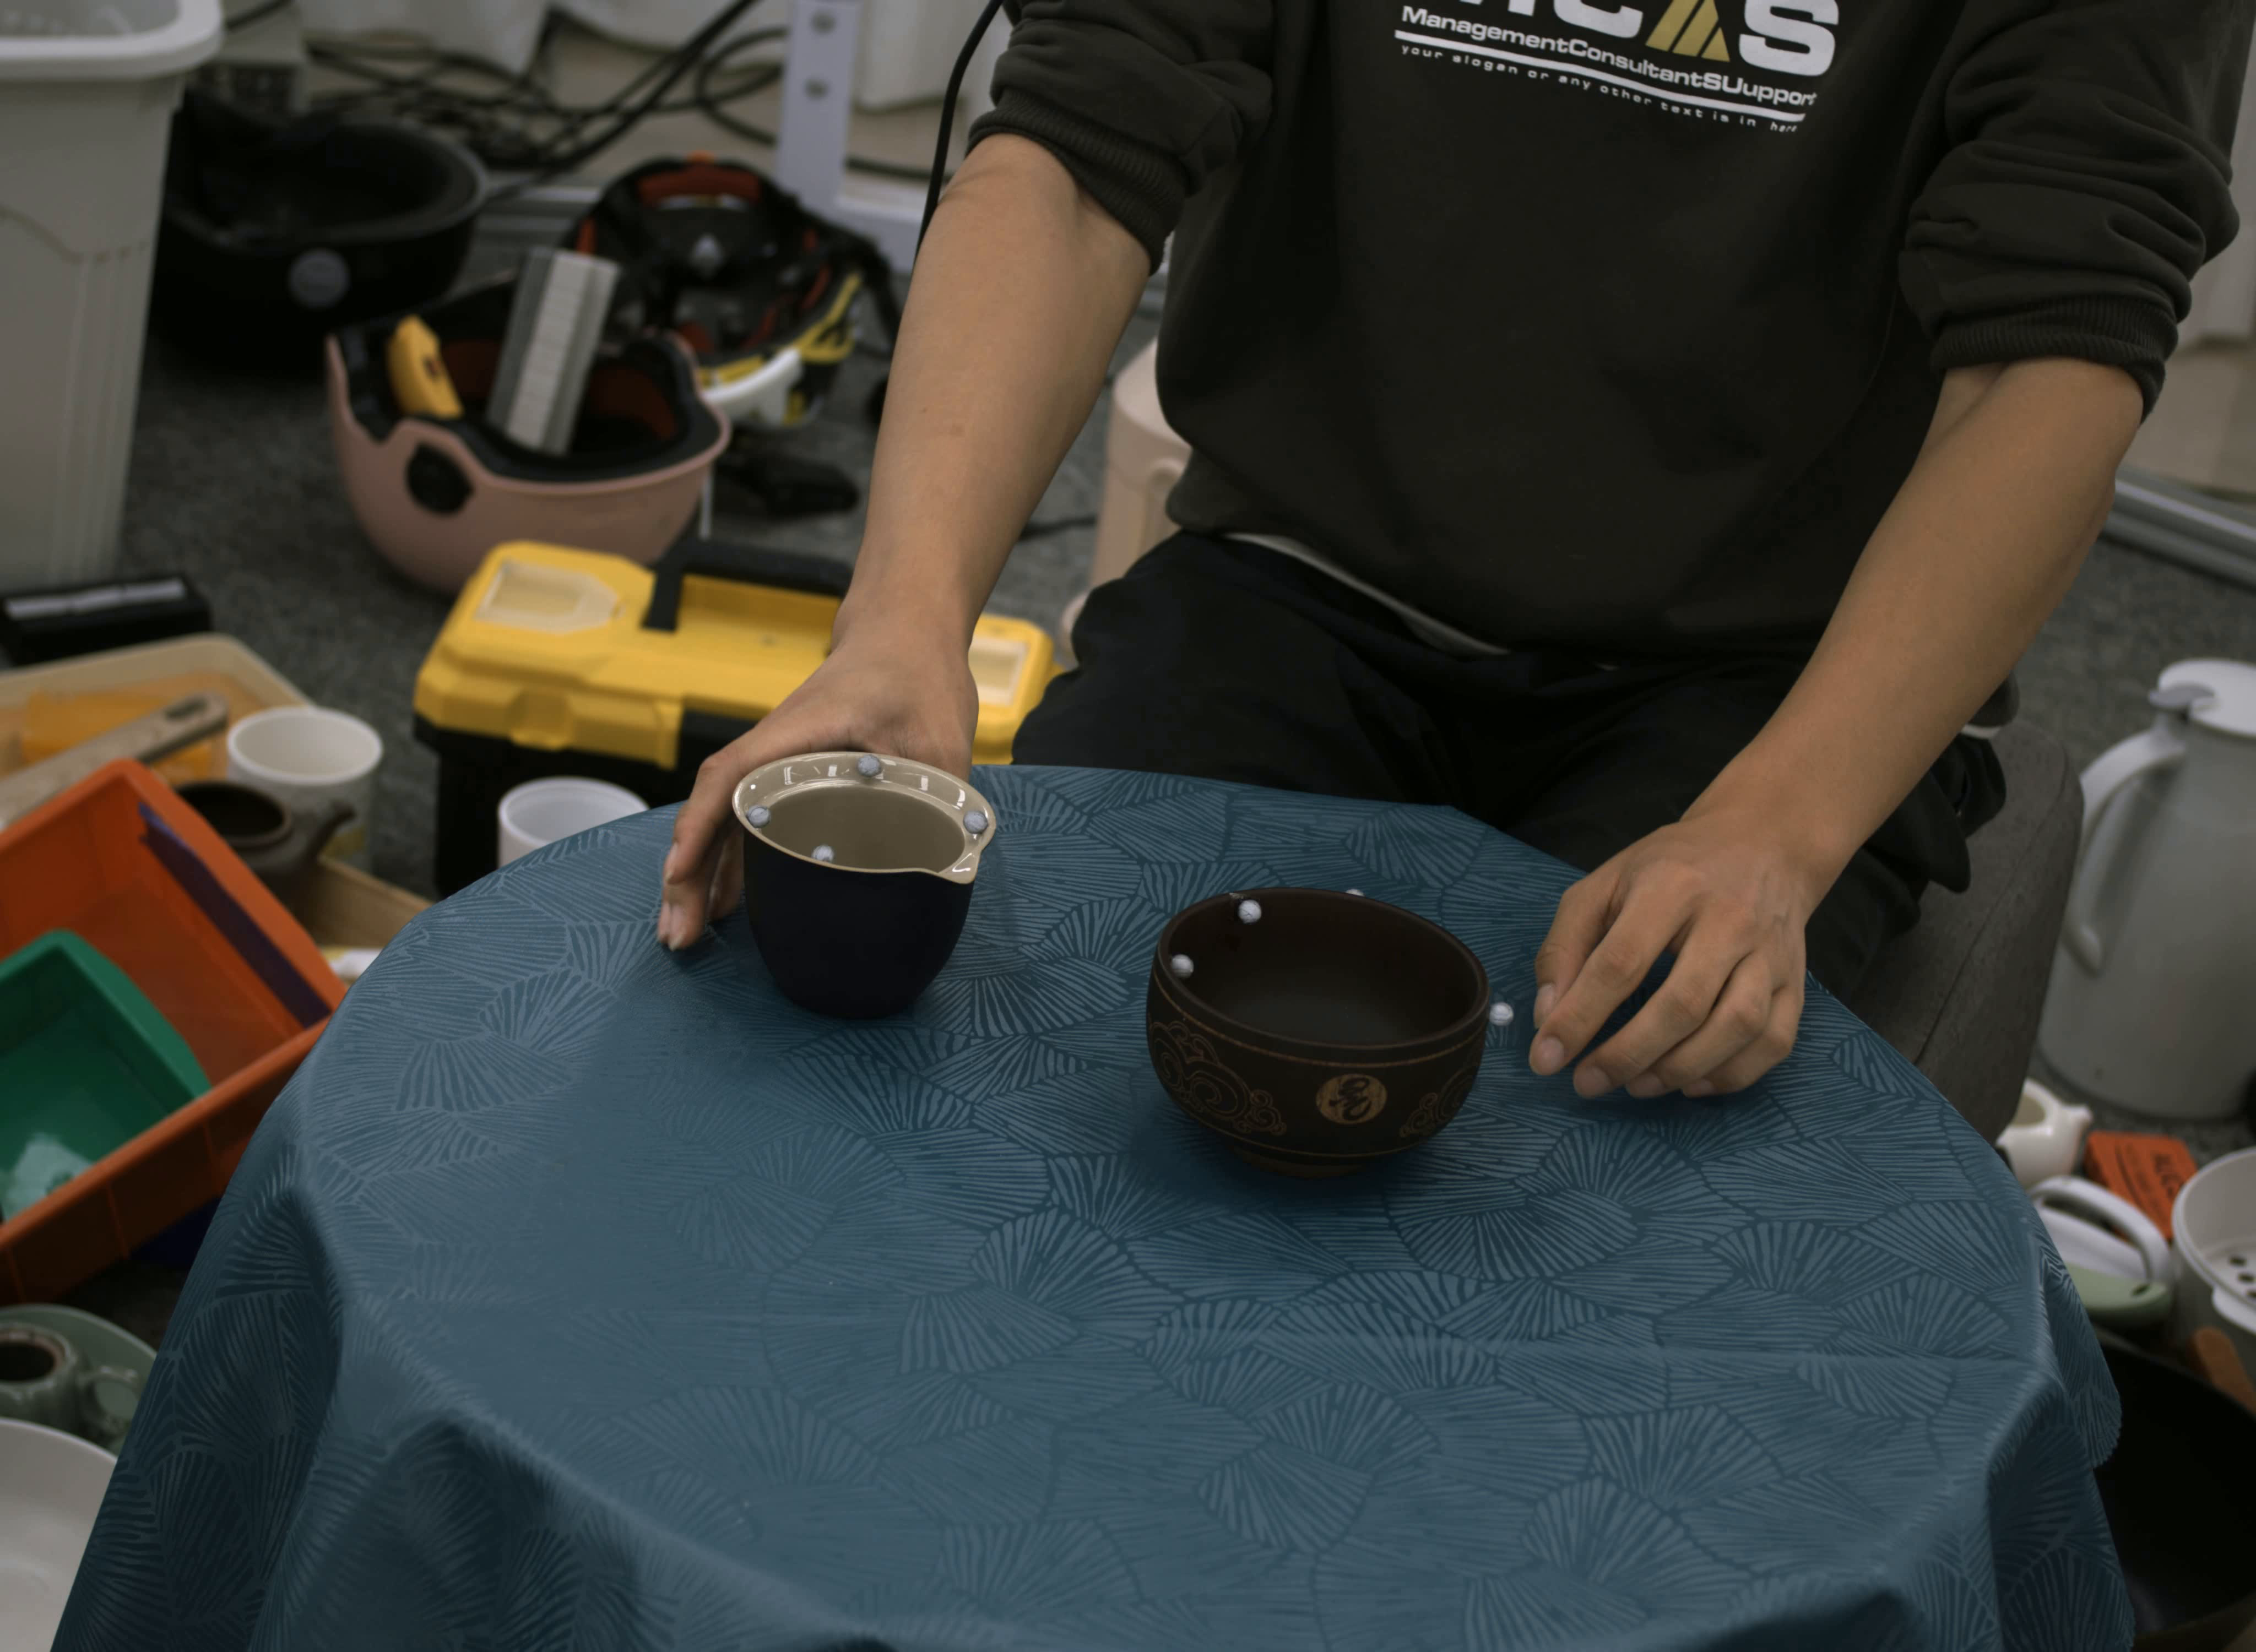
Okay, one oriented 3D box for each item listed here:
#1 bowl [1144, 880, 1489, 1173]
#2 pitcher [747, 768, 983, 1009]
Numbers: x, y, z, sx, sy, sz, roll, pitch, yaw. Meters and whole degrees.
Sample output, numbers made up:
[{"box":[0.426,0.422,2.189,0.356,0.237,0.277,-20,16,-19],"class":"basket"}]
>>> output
[{"box":[0.063,0.076,1.837,0.117,0.069,0.119,4,28,-3],"class":"bowl"},{"box":[-0.093,0.025,1.896,0.083,0.071,0.097,-12,31,-36],"class":"pitcher"}]
